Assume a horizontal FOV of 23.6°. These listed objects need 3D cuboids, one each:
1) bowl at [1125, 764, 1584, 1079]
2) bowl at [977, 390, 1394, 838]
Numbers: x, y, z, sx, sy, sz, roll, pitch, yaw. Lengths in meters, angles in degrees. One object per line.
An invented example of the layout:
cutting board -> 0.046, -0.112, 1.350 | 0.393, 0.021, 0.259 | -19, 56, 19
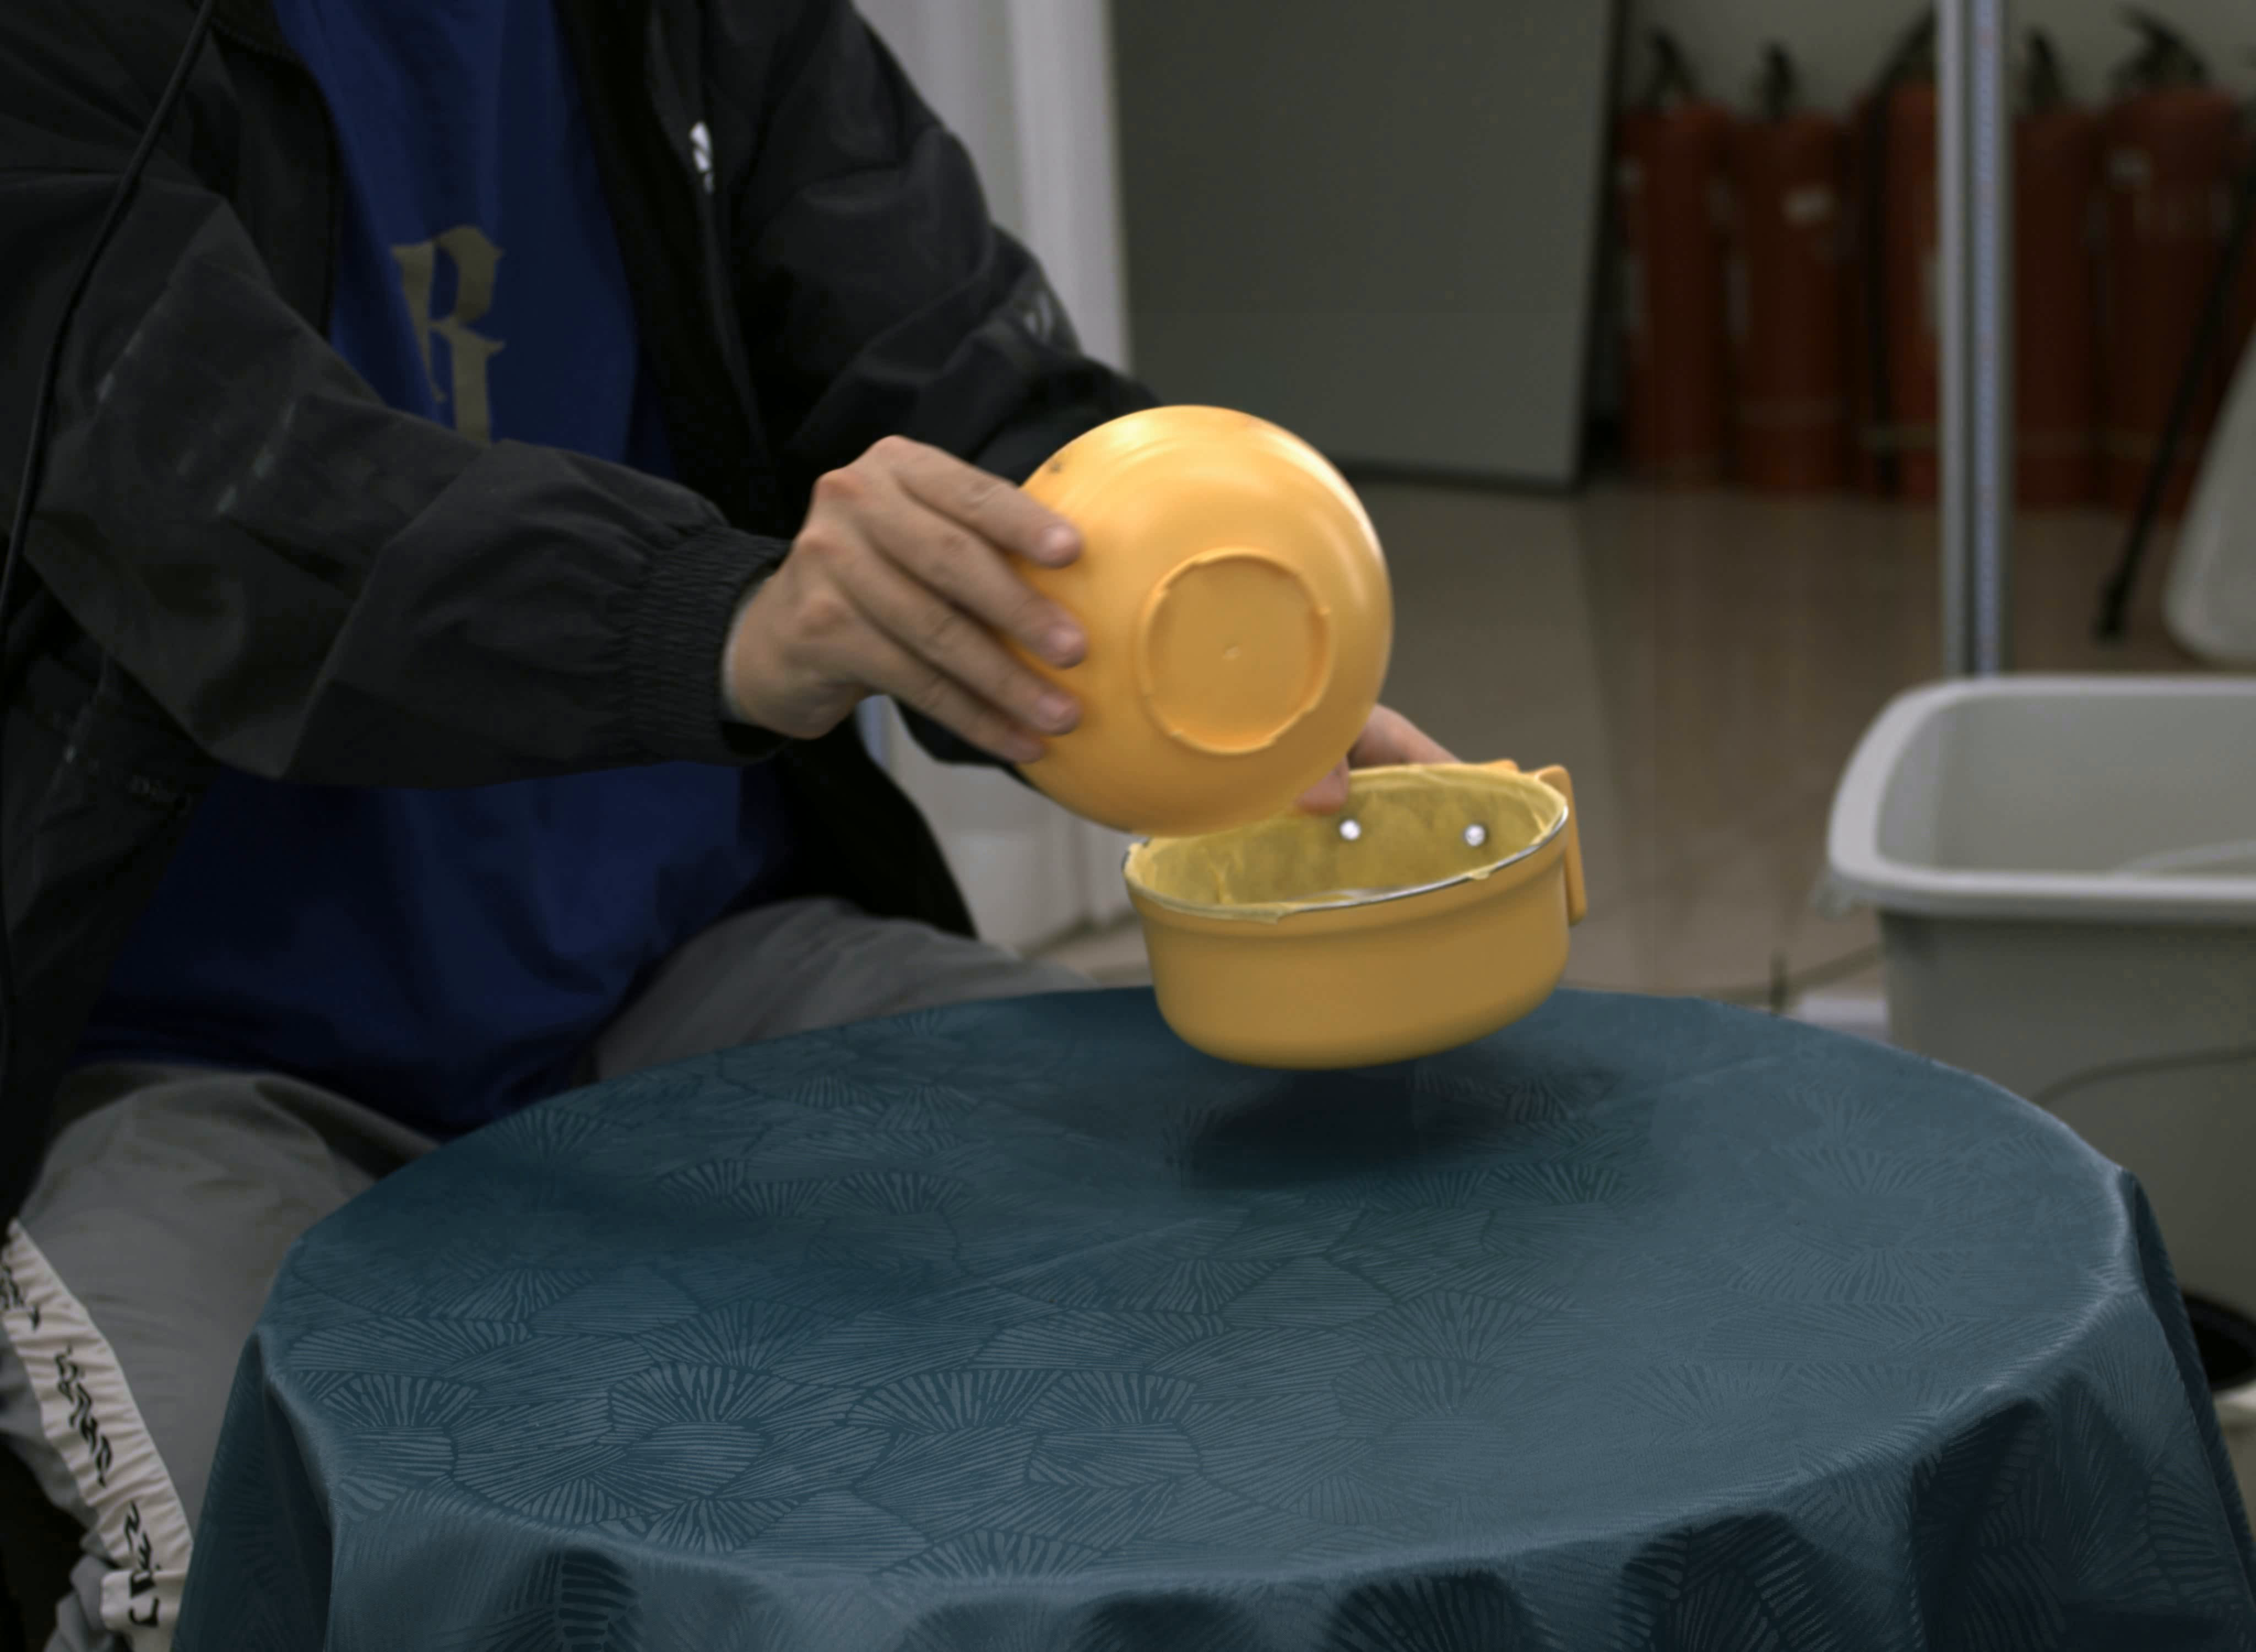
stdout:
bowl -> 0.089, 0.030, 1.824 | 0.154, 0.075, 0.176 | 4, 21, 43
bowl -> 0.027, -0.065, 1.731 | 0.142, 0.147, 0.060 | -7, 10, -15
